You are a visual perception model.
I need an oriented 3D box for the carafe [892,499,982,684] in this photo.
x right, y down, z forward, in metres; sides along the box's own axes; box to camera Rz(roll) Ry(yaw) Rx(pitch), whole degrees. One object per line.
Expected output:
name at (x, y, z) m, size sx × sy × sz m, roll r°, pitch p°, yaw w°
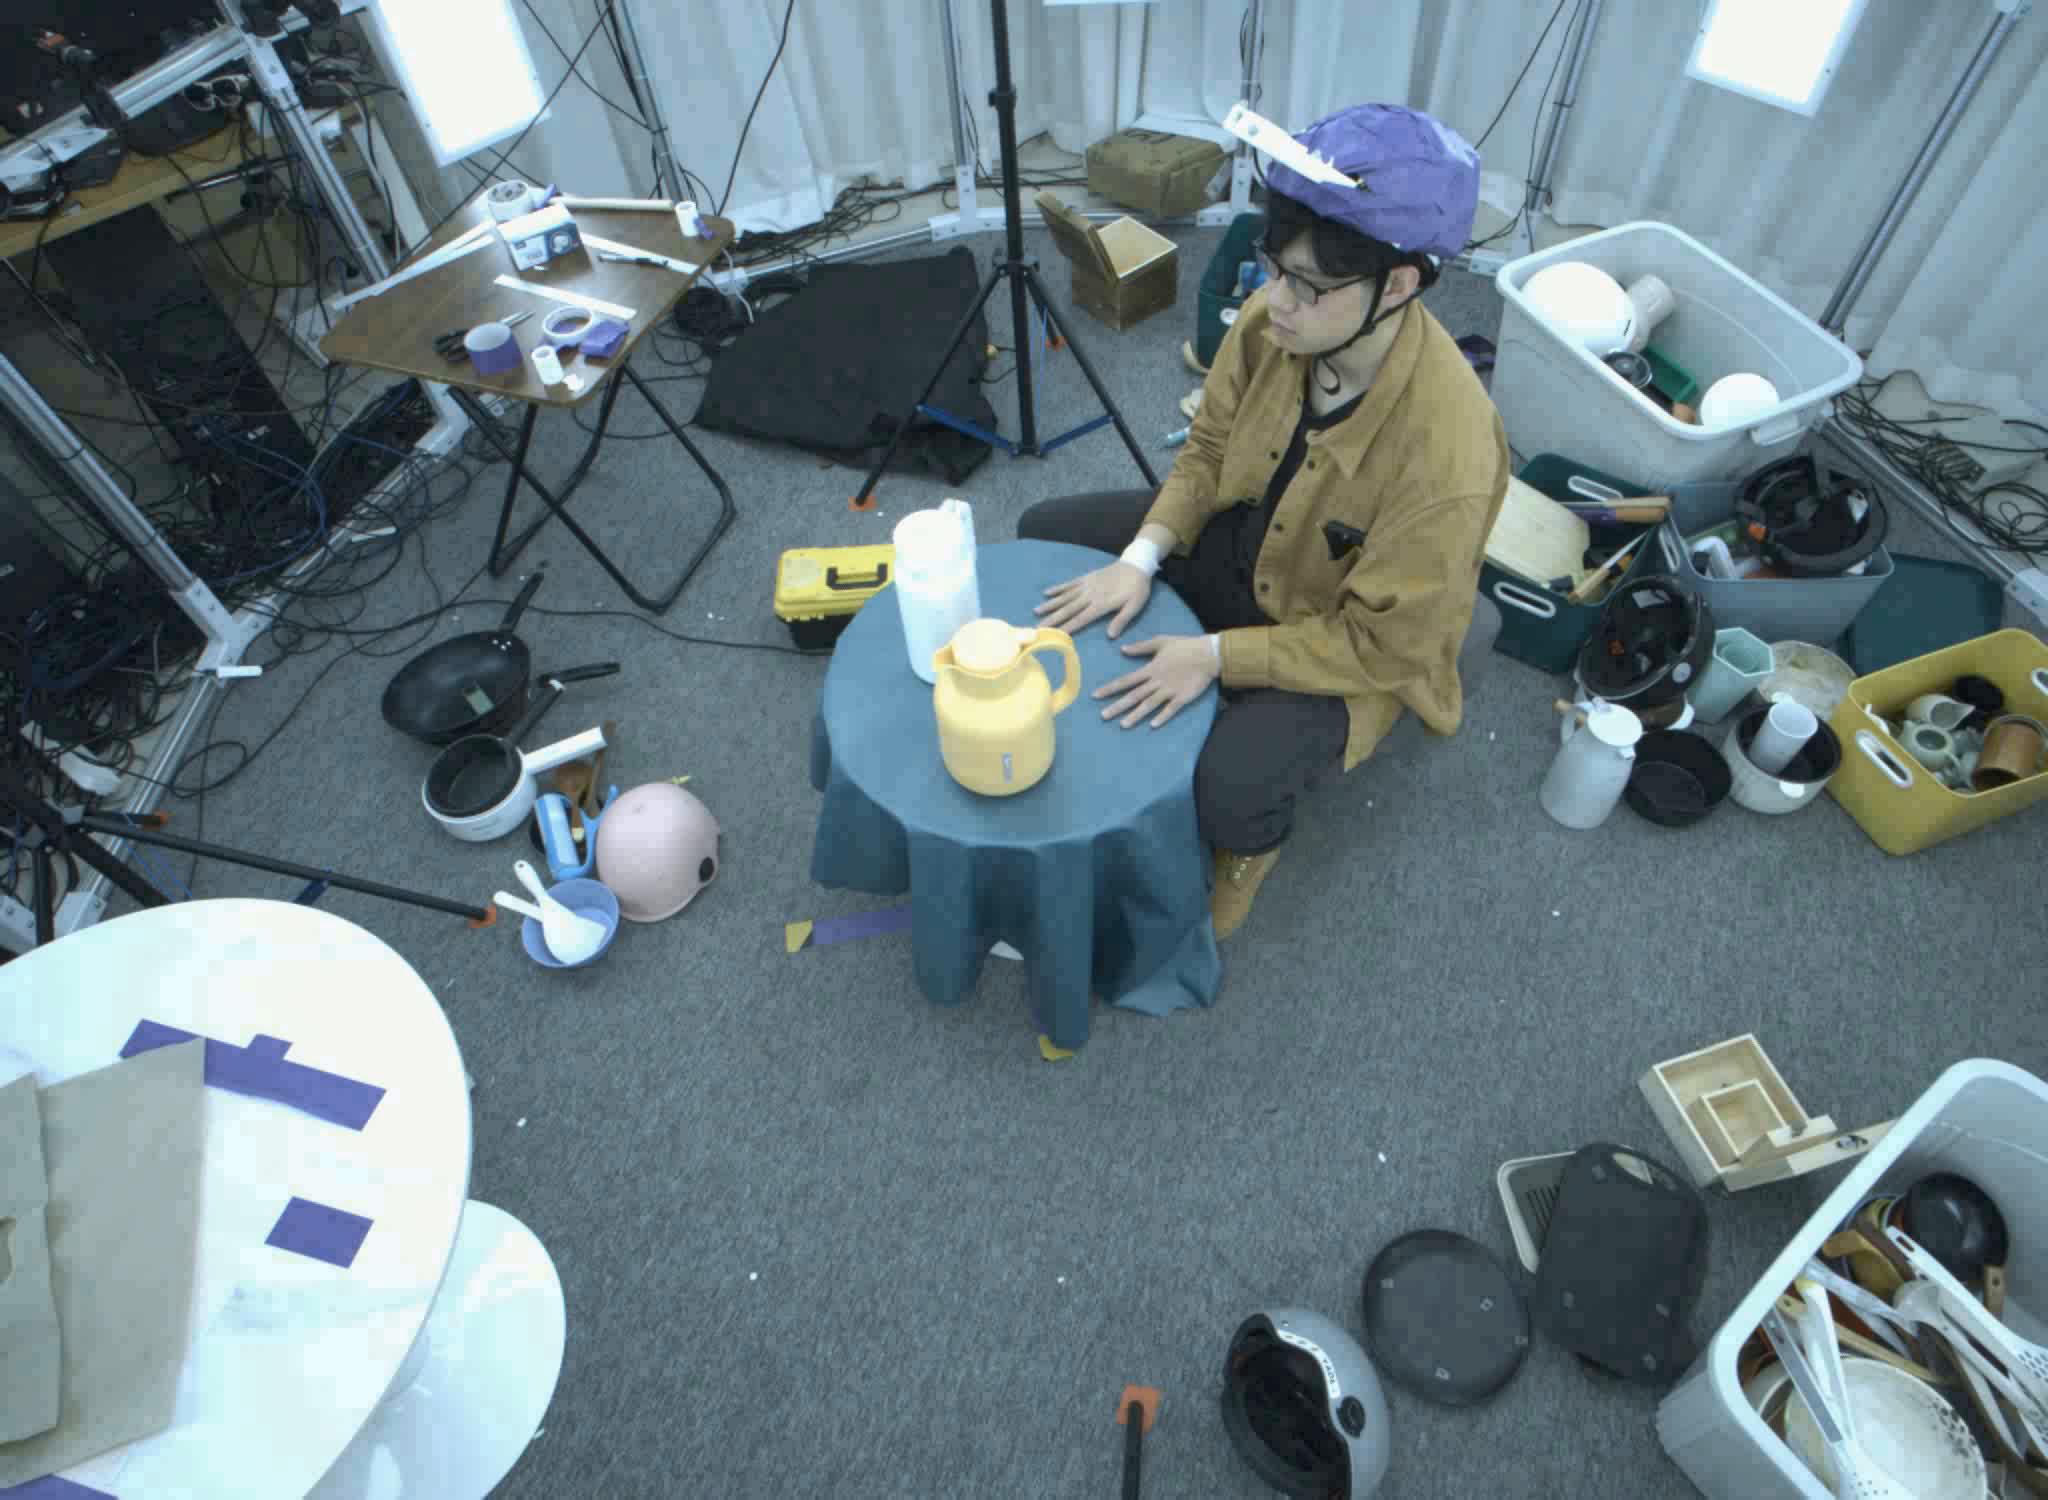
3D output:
carafe at (-0.120, -0.232, 1.788) m, size 0.122 × 0.272 × 0.172 m, roll 15°, pitch 56°, yaw 16°

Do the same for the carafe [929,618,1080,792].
carafe at (-0.023, -0.069, 1.670) m, size 0.203 × 0.263 × 0.161 m, roll -13°, pitch 57°, yaw -4°
